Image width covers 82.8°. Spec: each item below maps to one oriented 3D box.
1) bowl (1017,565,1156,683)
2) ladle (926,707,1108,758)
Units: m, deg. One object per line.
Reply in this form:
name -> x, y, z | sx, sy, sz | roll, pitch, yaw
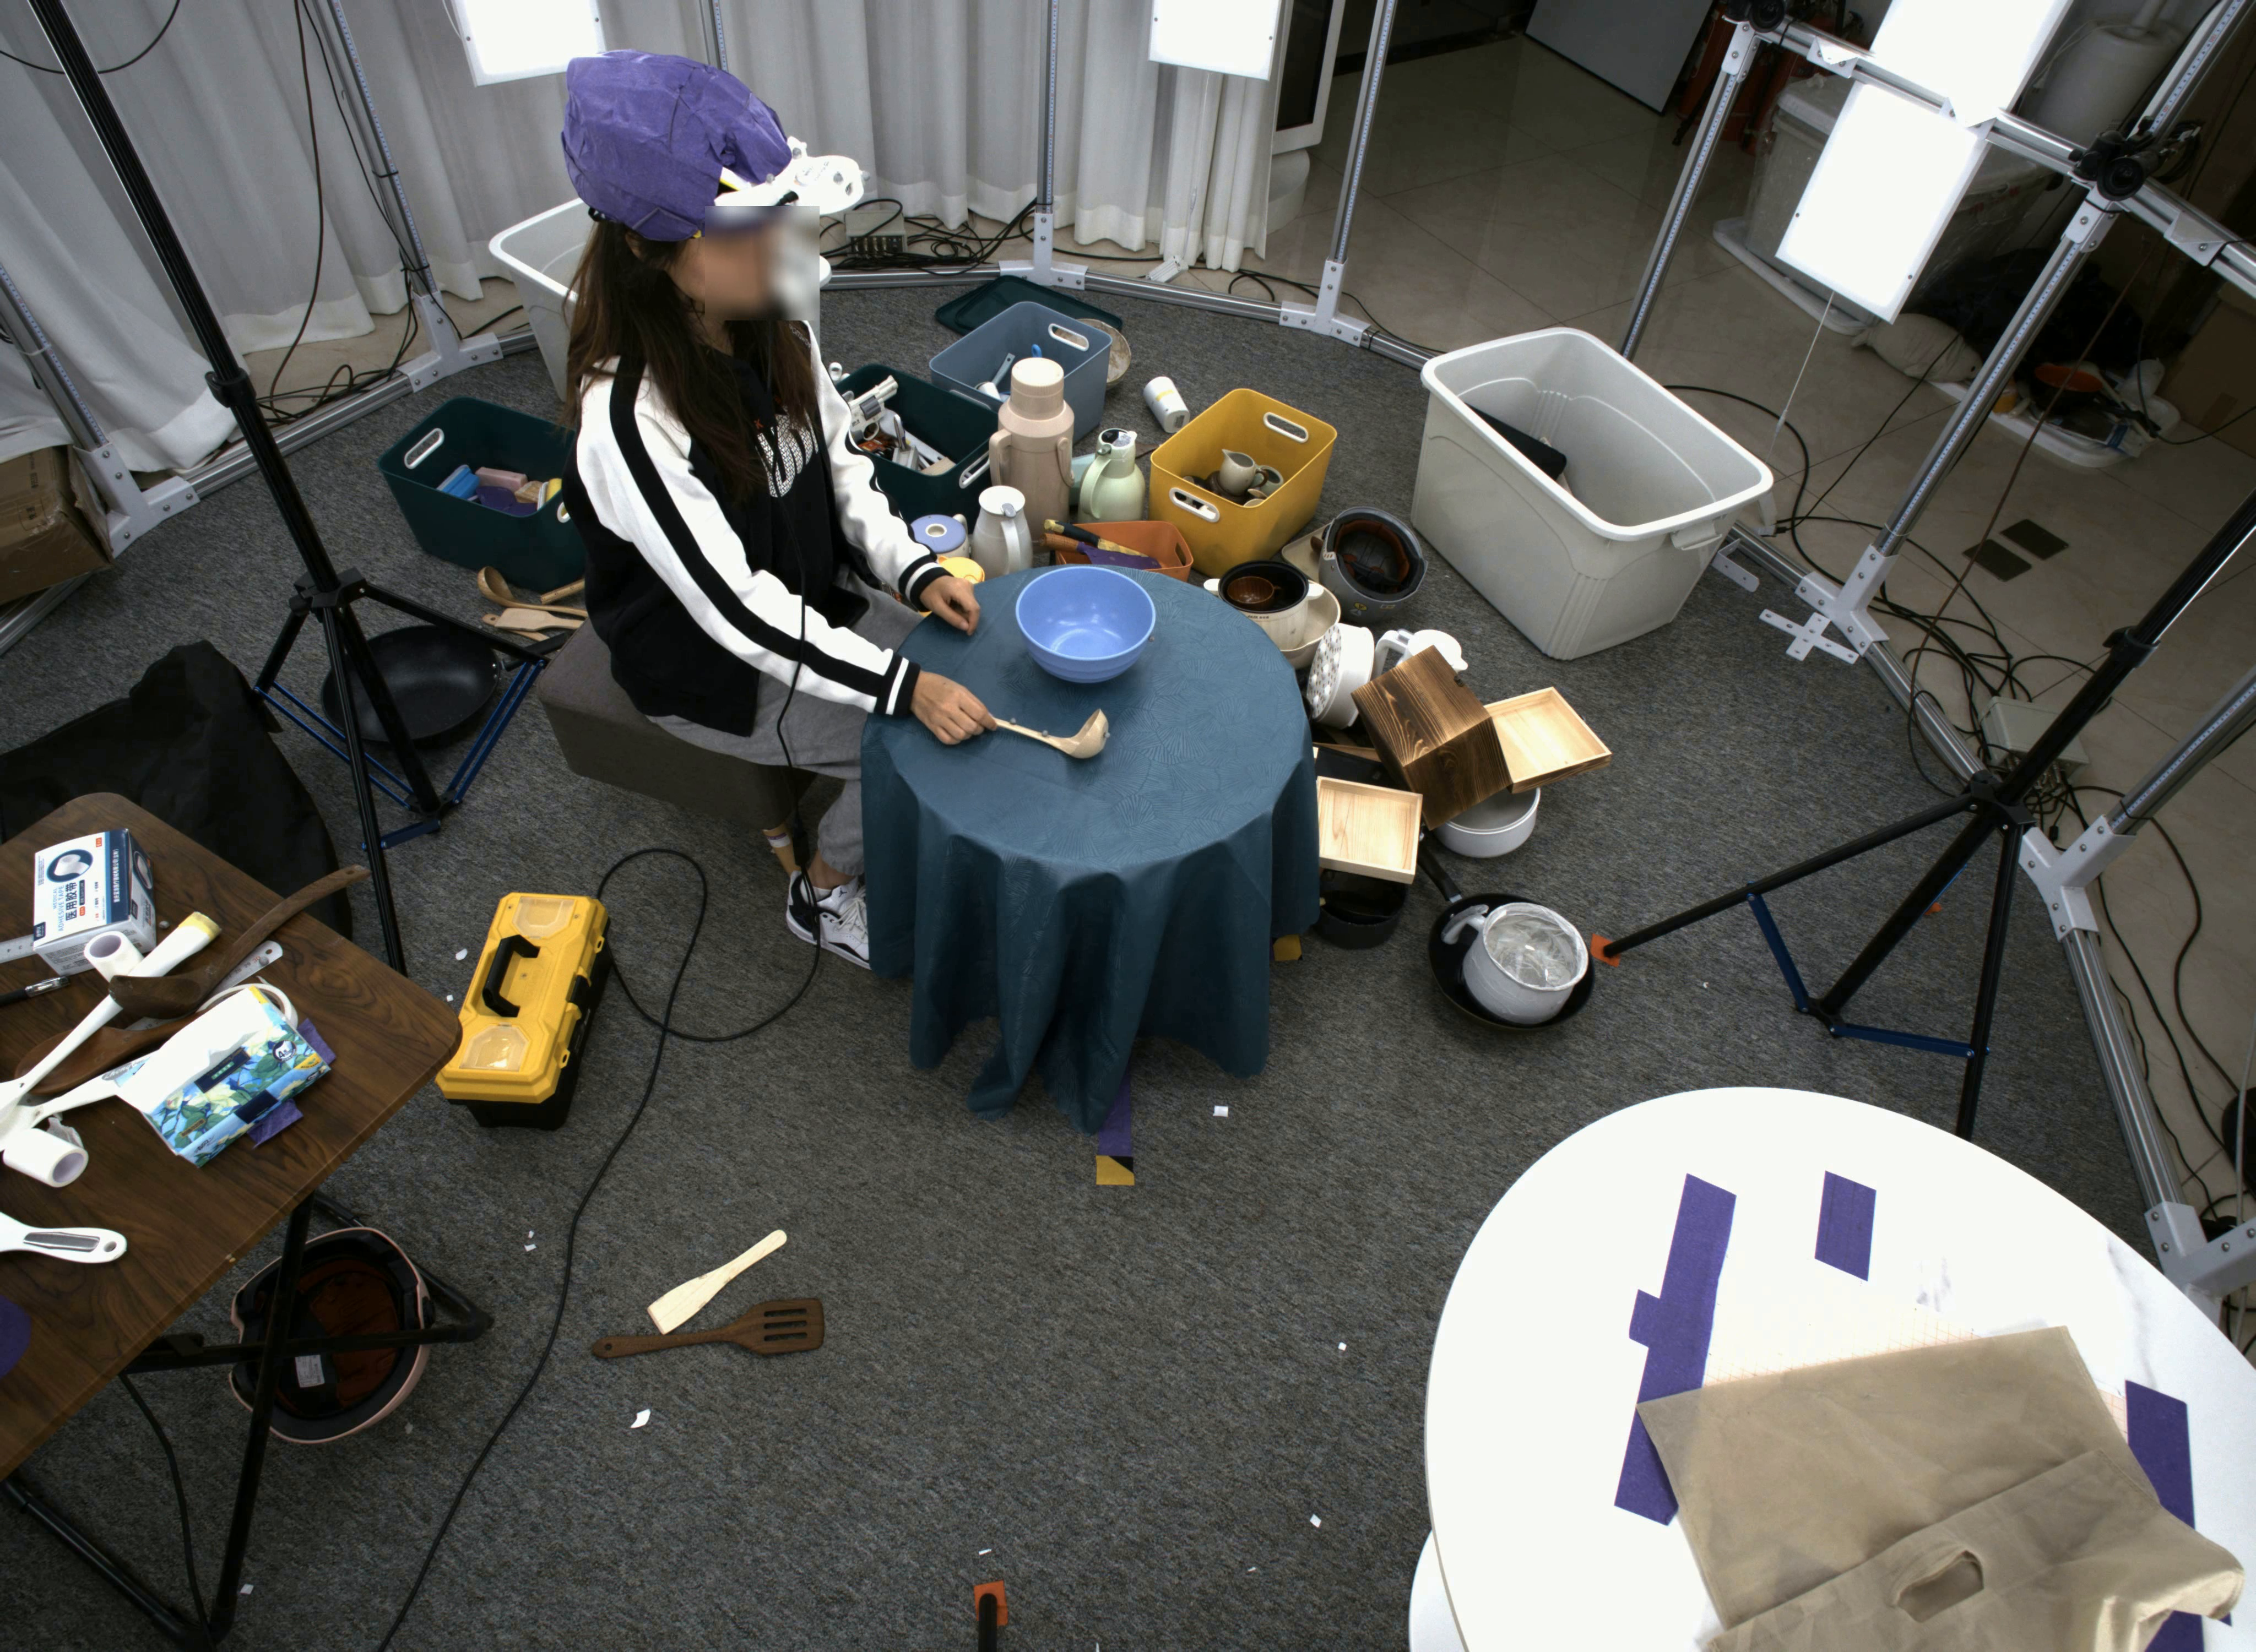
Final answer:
bowl -> -0.062, -0.274, 1.841 | 0.196, 0.093, 0.201 | 3, 49, -4
ladle -> -0.152, -0.152, 1.741 | 0.255, 0.071, 0.074 | 14, 45, 7
